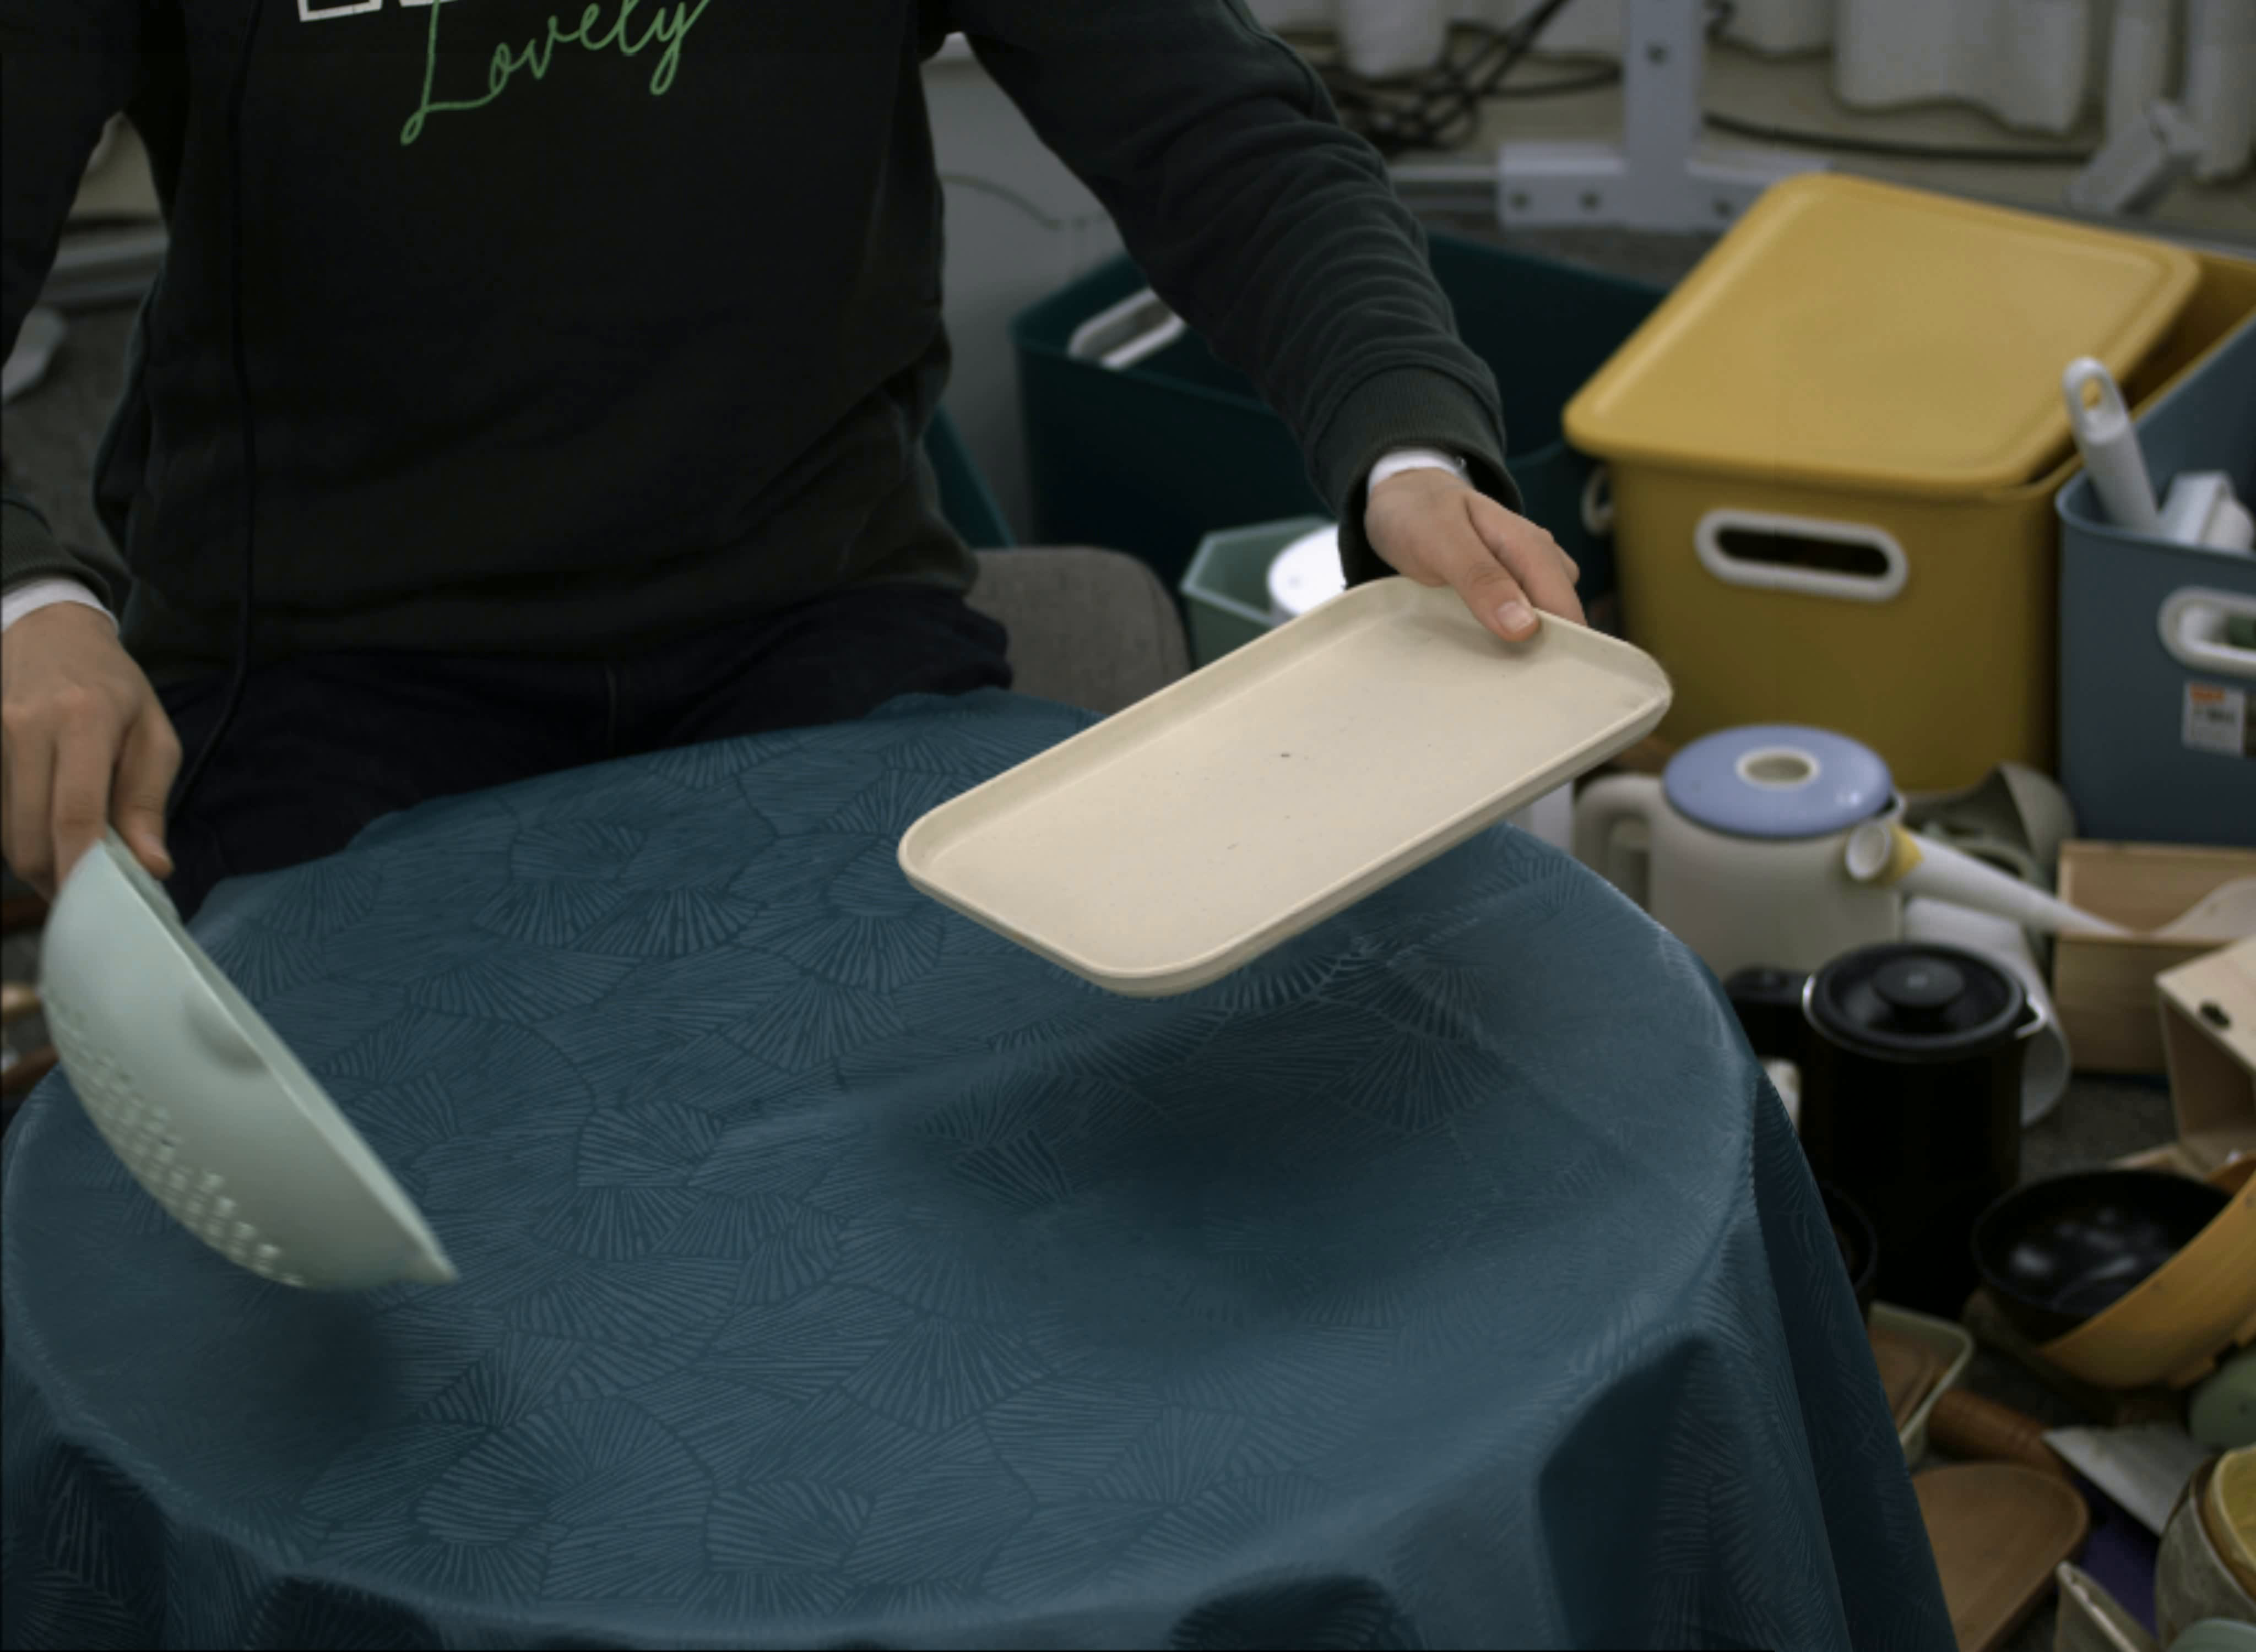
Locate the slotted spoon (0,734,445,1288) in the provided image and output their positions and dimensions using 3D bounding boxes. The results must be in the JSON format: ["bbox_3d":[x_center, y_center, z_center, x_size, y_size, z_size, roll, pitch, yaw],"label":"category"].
[{"bbox_3d":[-0.323,0.038,1.815,0.075,0.167,0.362,-33,35,-3],"label":"slotted spoon"}]

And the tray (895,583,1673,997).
[{"bbox_3d":[0.053,-0.013,1.885,0.242,0.017,0.171,-27,29,-26],"label":"tray"}]
